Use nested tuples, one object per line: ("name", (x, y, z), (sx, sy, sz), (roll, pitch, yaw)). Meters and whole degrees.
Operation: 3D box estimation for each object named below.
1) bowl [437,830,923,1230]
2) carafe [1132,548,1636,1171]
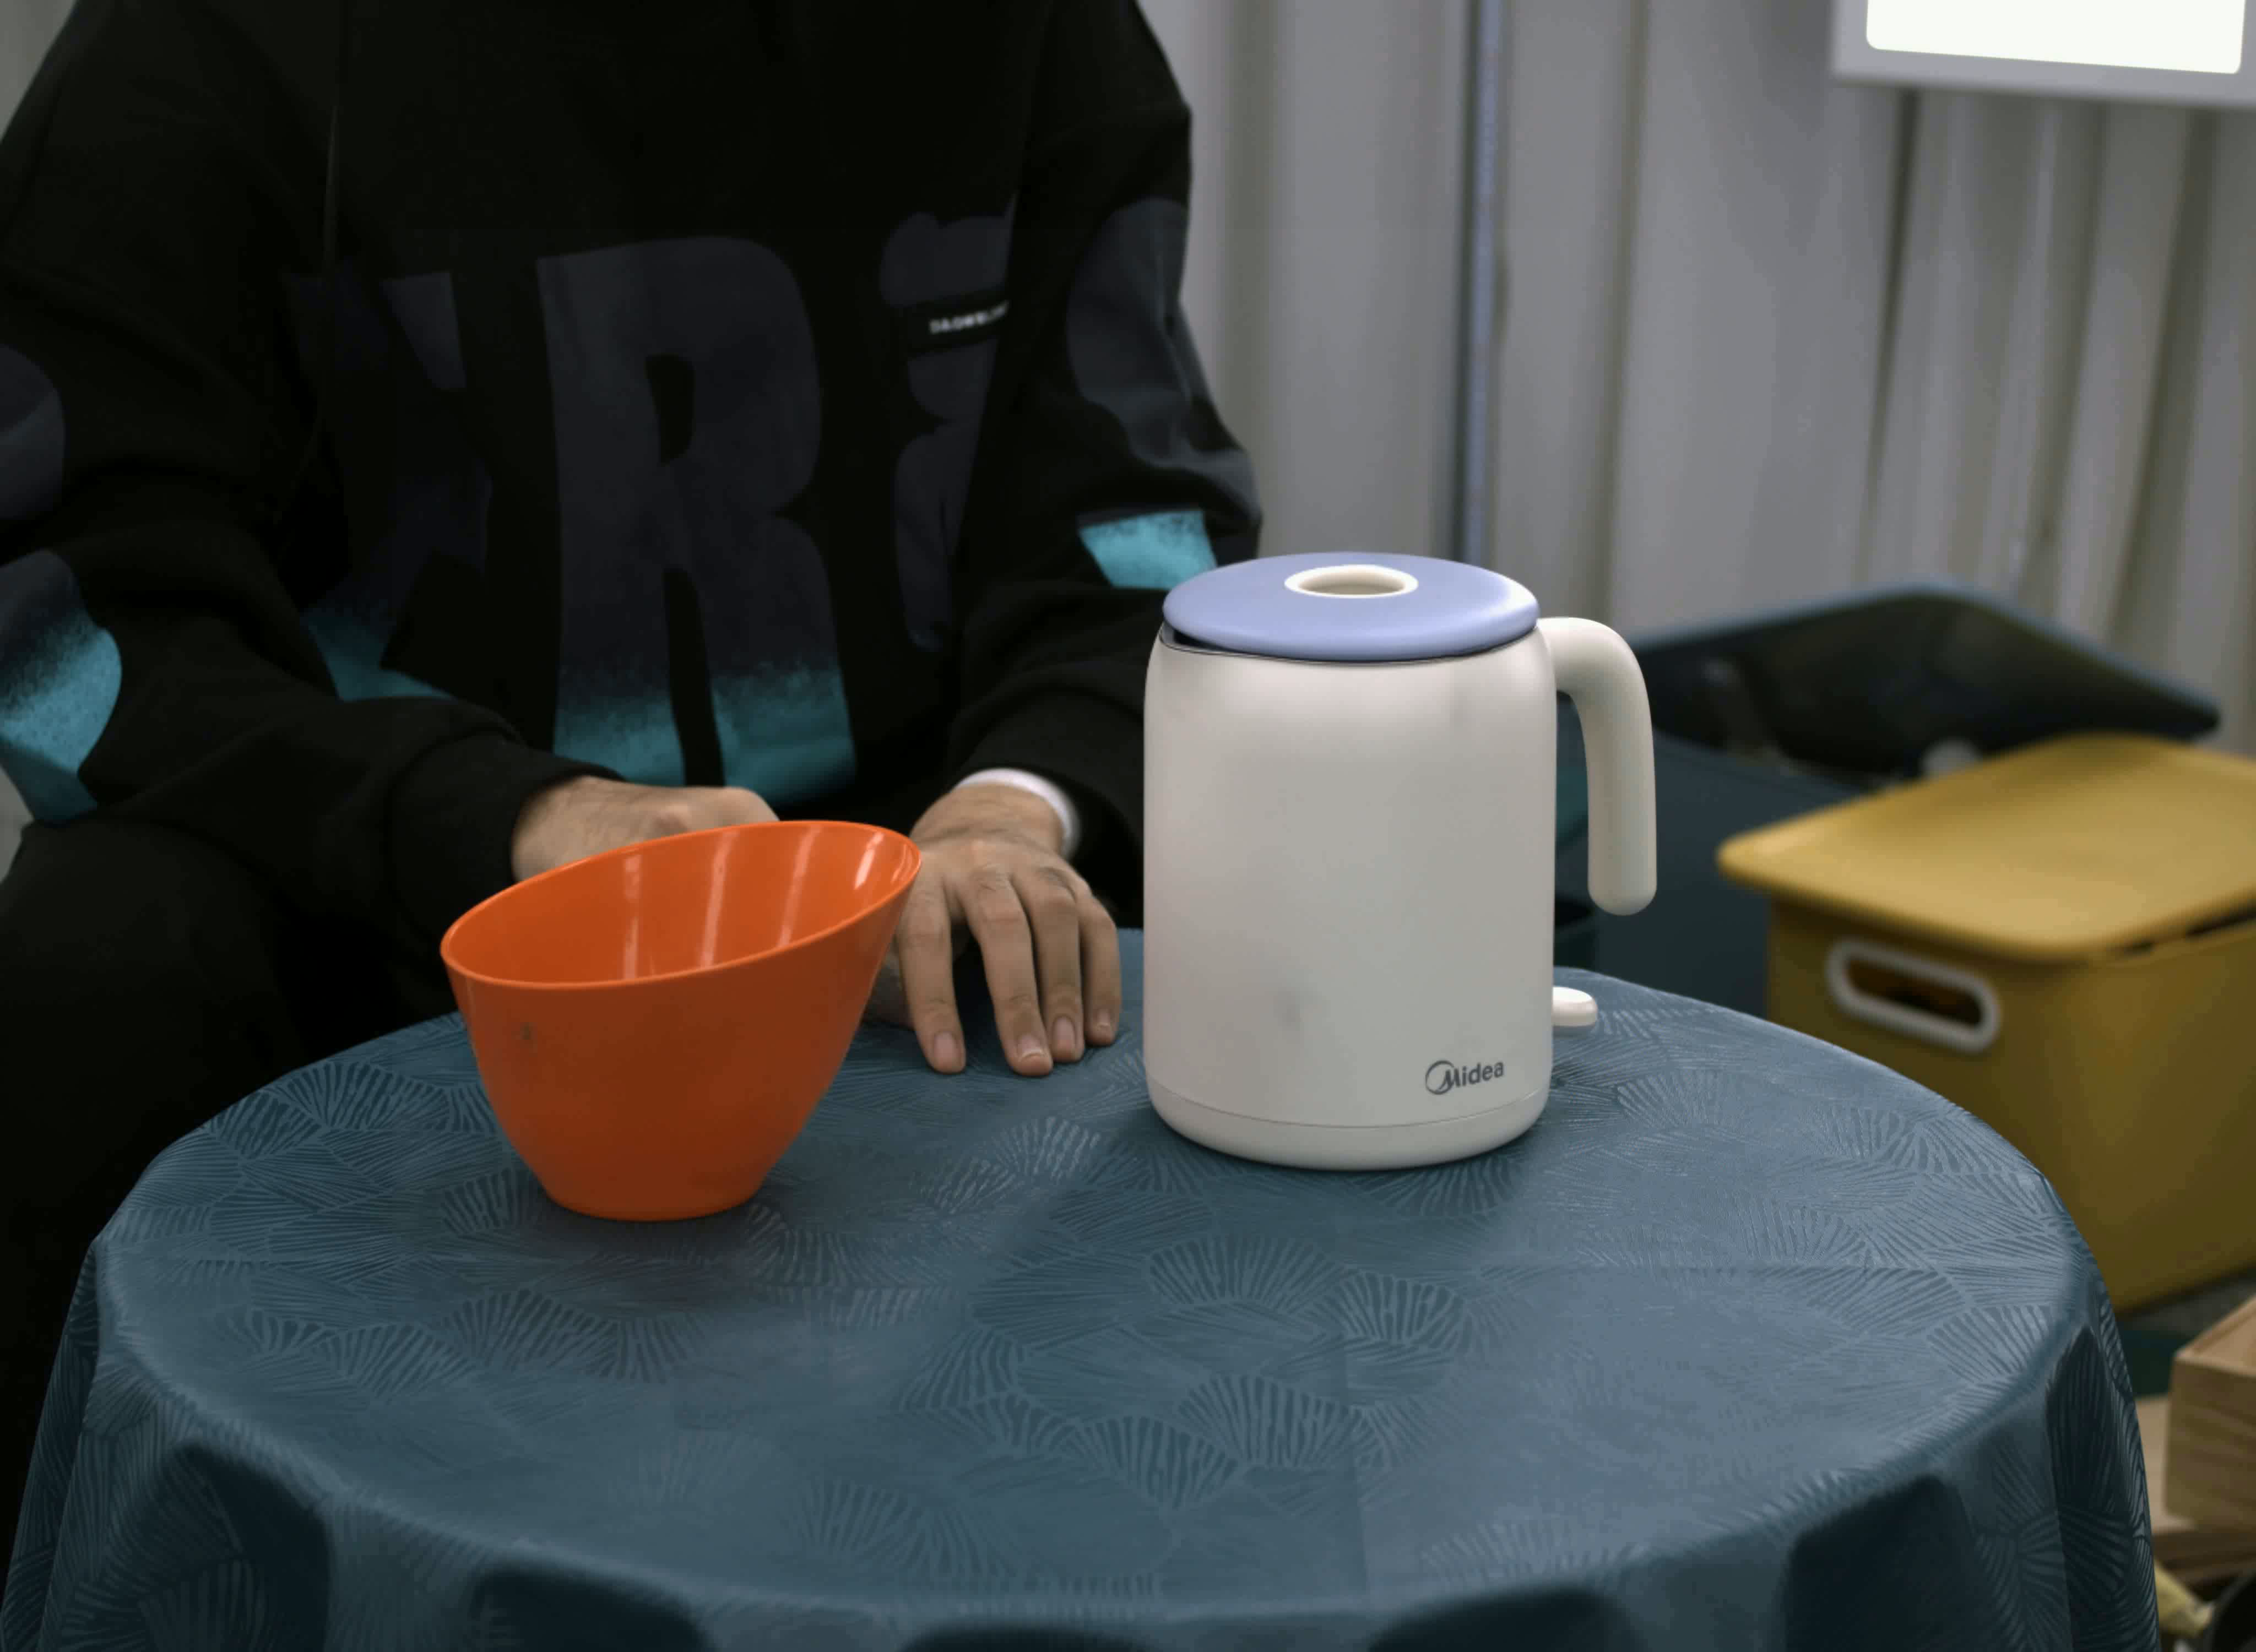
("bowl", (-0.136, 0.063, 1.604), (0.147, 0.105, 0.147), (1, 16, 0))
("carafe", (0.089, 0.007, 1.684), (0.192, 0.184, 0.130), (-8, 19, -34))
